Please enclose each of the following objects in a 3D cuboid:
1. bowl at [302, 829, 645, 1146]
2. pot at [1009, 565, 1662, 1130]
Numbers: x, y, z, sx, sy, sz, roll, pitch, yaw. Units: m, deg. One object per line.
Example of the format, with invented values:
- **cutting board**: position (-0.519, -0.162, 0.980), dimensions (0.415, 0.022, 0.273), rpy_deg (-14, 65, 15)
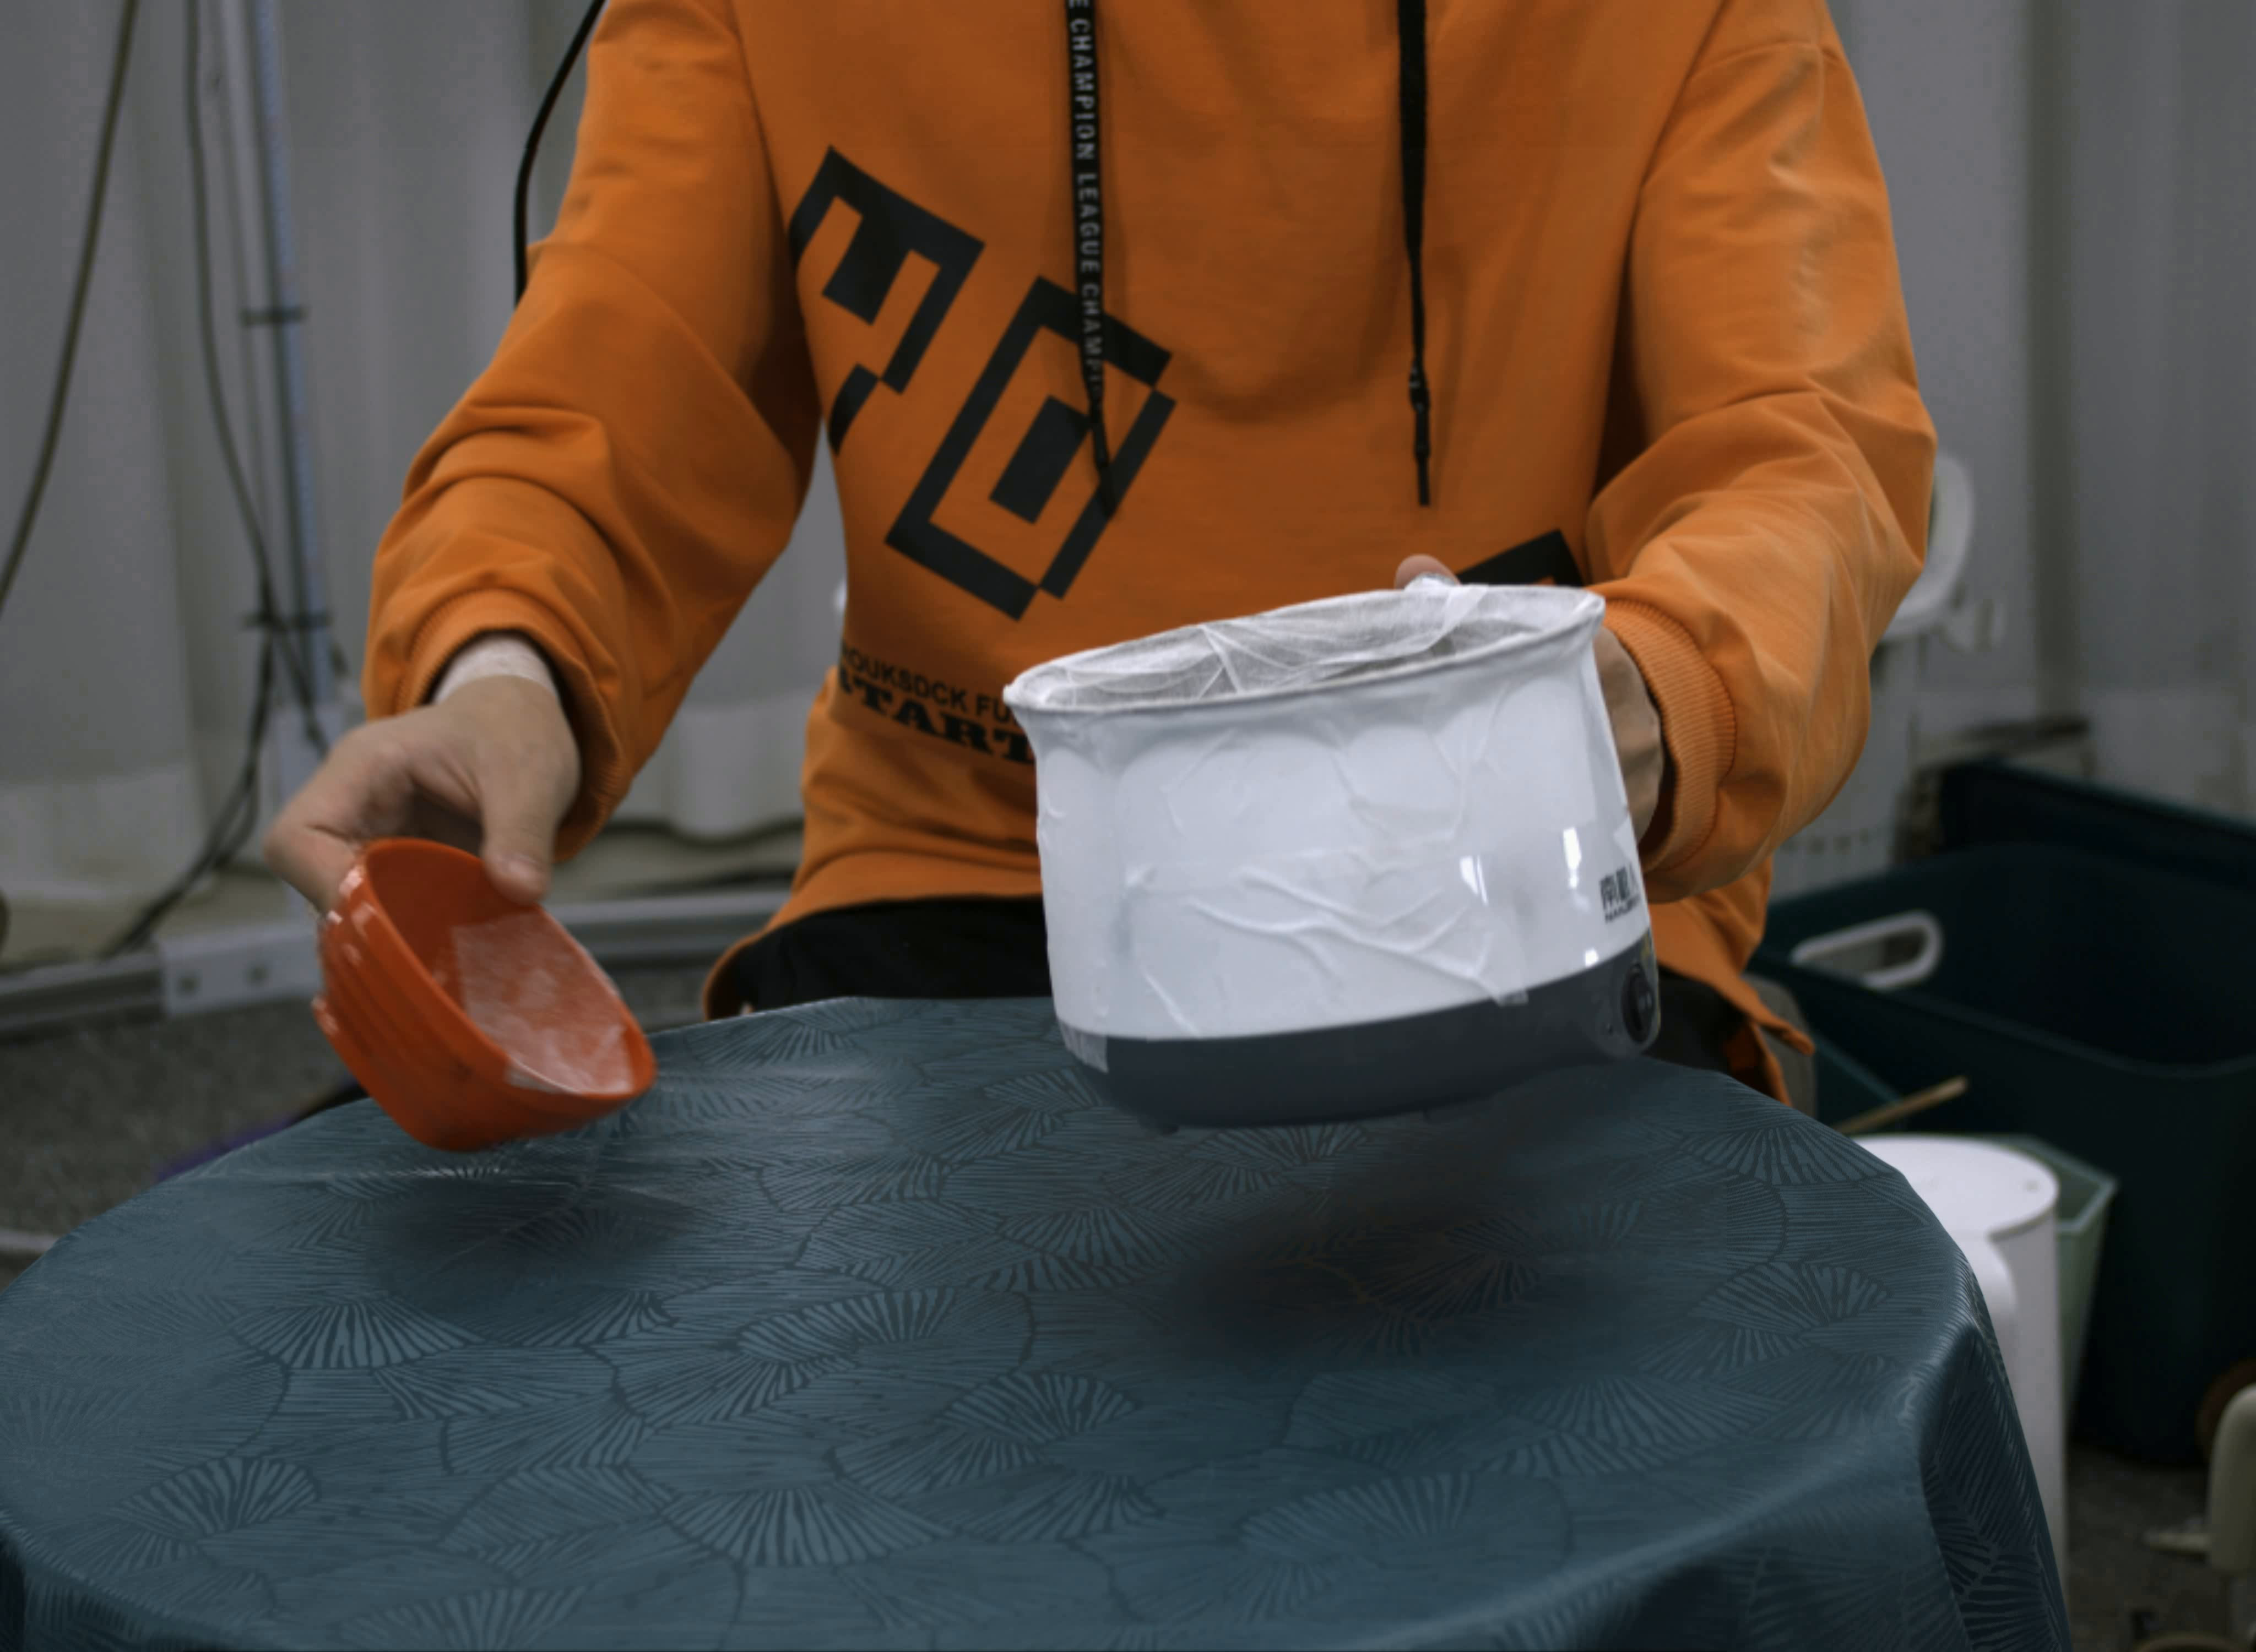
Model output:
- **bowl**: position (-0.210, 0.058, 1.699), dimensions (0.118, 0.051, 0.120), rpy_deg (39, 17, -14)
- **pot**: position (0.072, 0.002, 1.624), dimensions (0.178, 0.136, 0.234), rpy_deg (-5, 10, 24)
